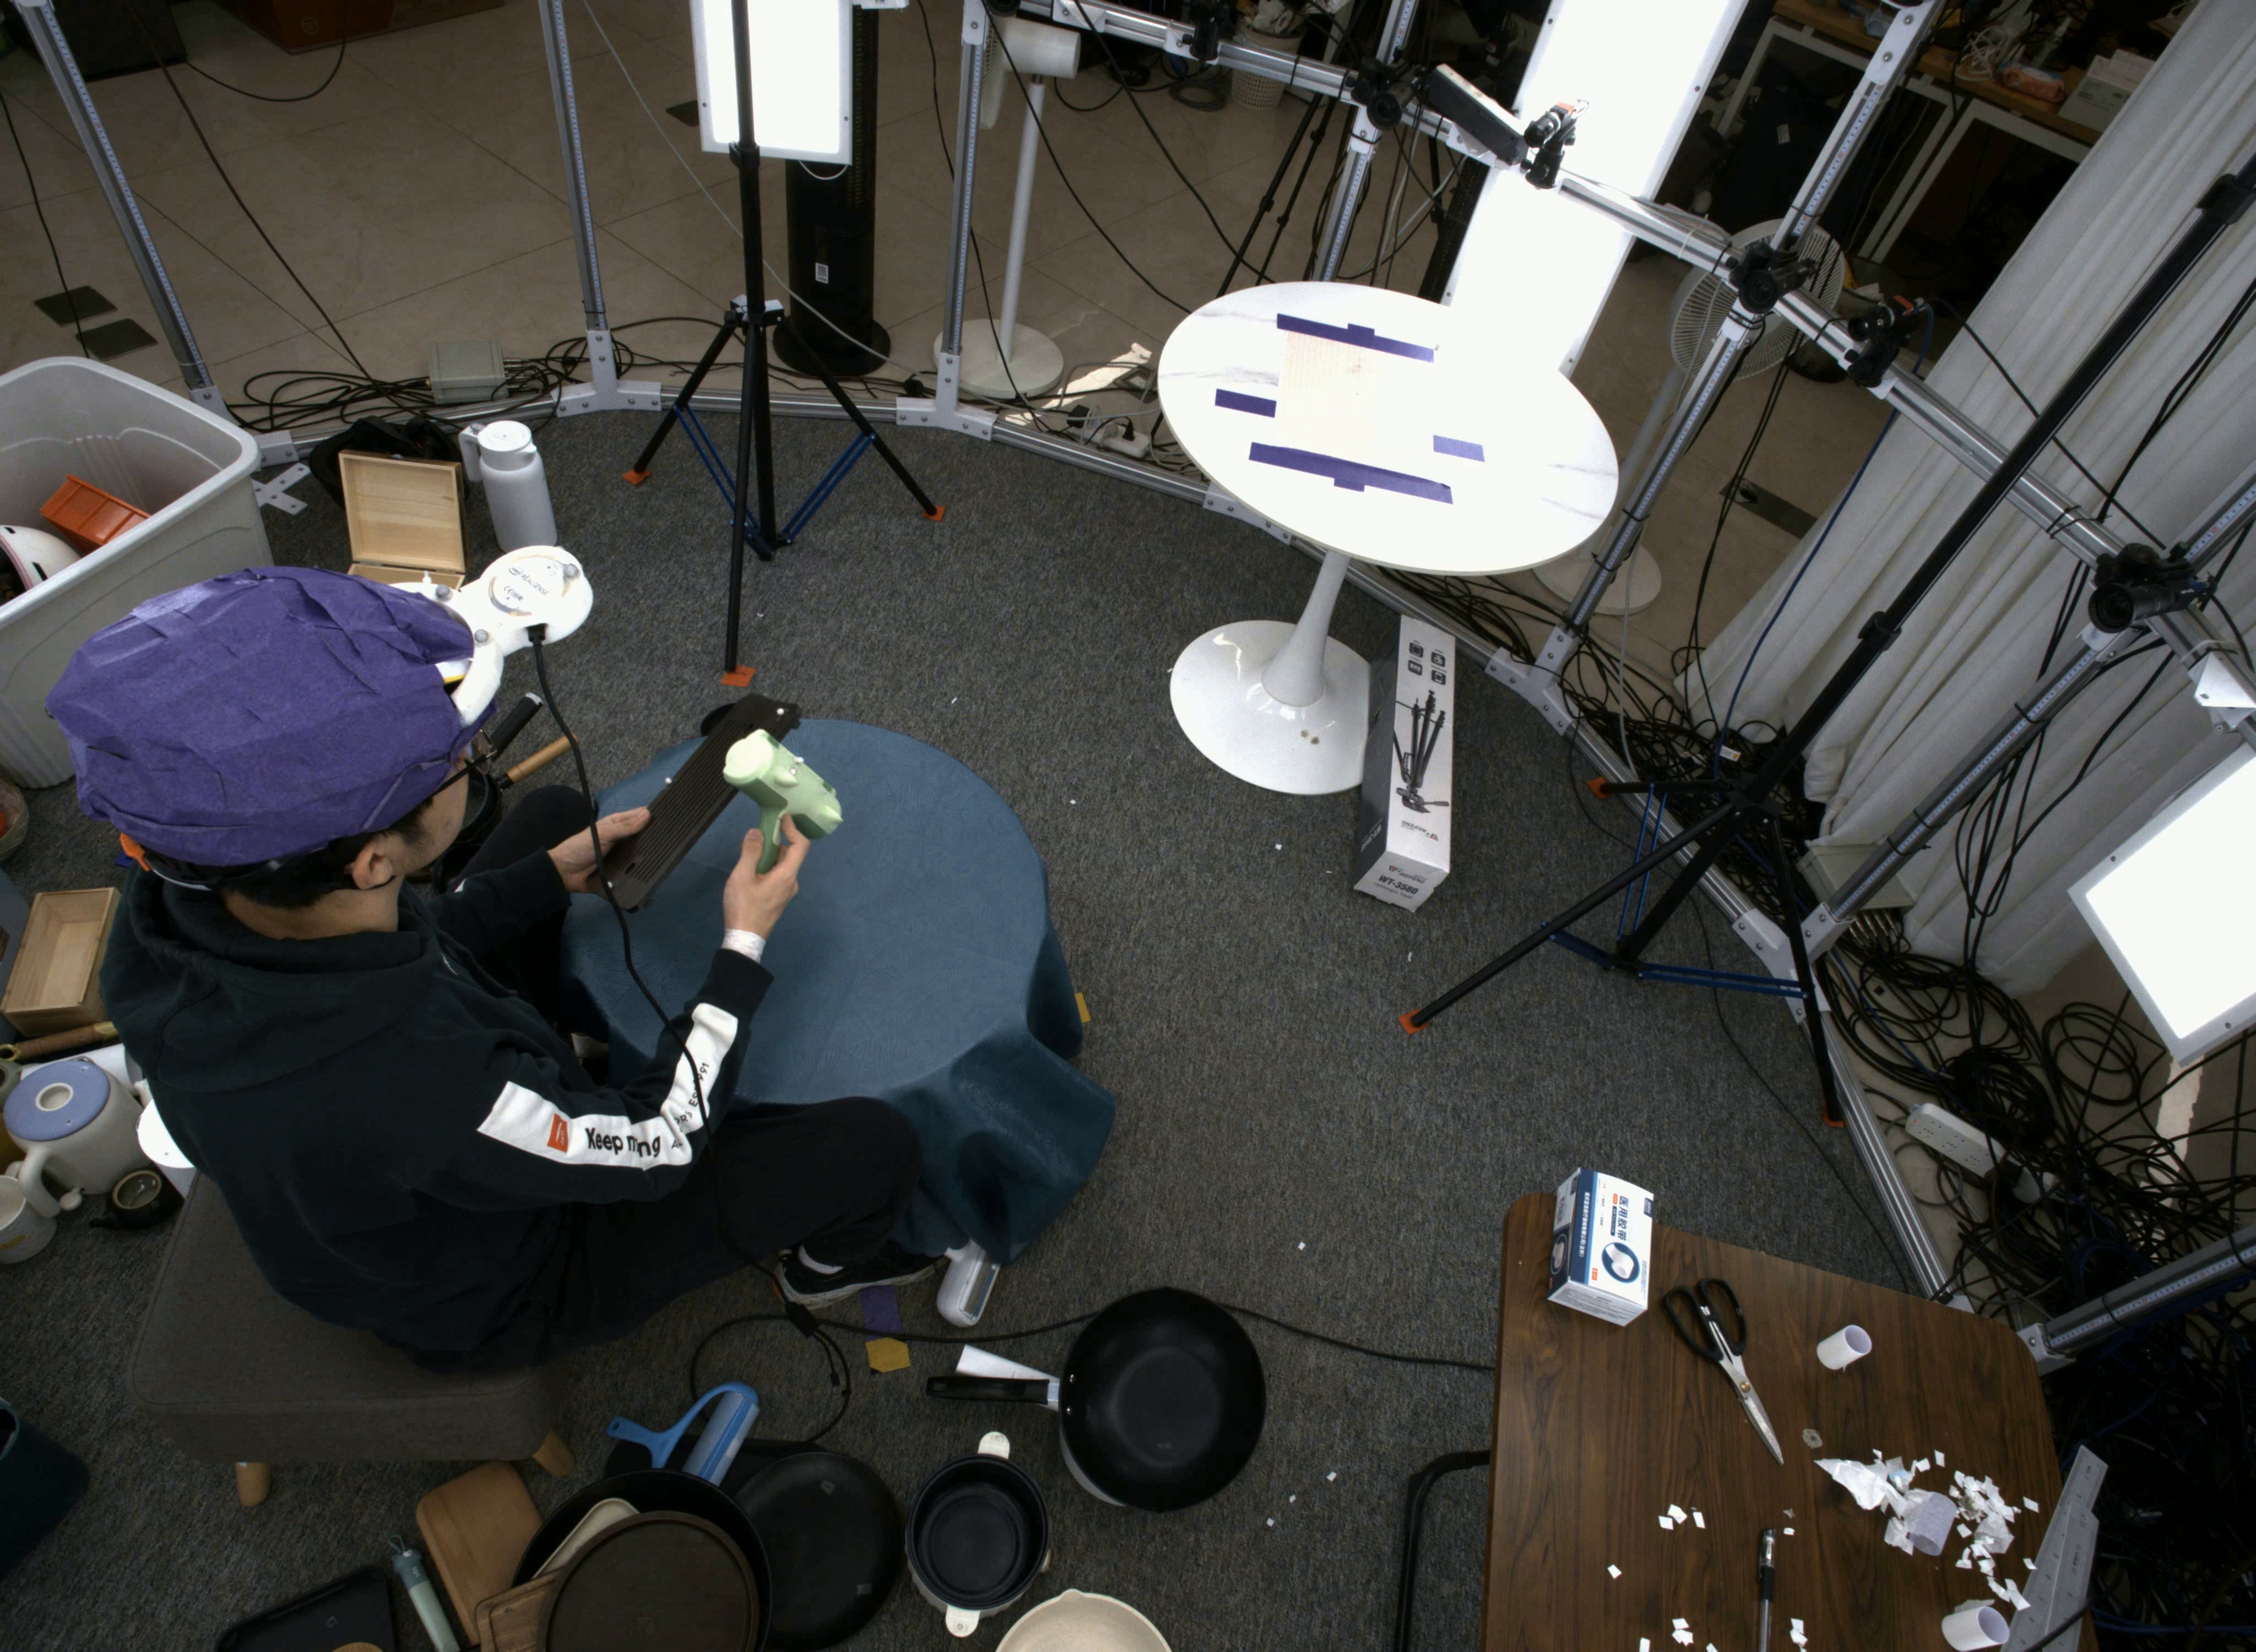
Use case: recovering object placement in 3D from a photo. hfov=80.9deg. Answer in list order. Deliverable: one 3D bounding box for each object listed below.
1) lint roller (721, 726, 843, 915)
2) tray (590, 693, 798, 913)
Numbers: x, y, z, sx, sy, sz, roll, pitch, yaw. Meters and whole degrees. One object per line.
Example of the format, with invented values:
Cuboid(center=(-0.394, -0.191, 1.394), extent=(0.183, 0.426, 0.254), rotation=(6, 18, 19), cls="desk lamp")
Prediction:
Cuboid(center=(-0.391, 0.010, 1.455), extent=(0.080, 0.204, 0.182), rotation=(1, 71, 15), cls="lint roller")
Cuboid(center=(-0.513, -0.034, 1.517), extent=(0.164, 0.019, 0.306), rotation=(13, 62, 49), cls="tray")
